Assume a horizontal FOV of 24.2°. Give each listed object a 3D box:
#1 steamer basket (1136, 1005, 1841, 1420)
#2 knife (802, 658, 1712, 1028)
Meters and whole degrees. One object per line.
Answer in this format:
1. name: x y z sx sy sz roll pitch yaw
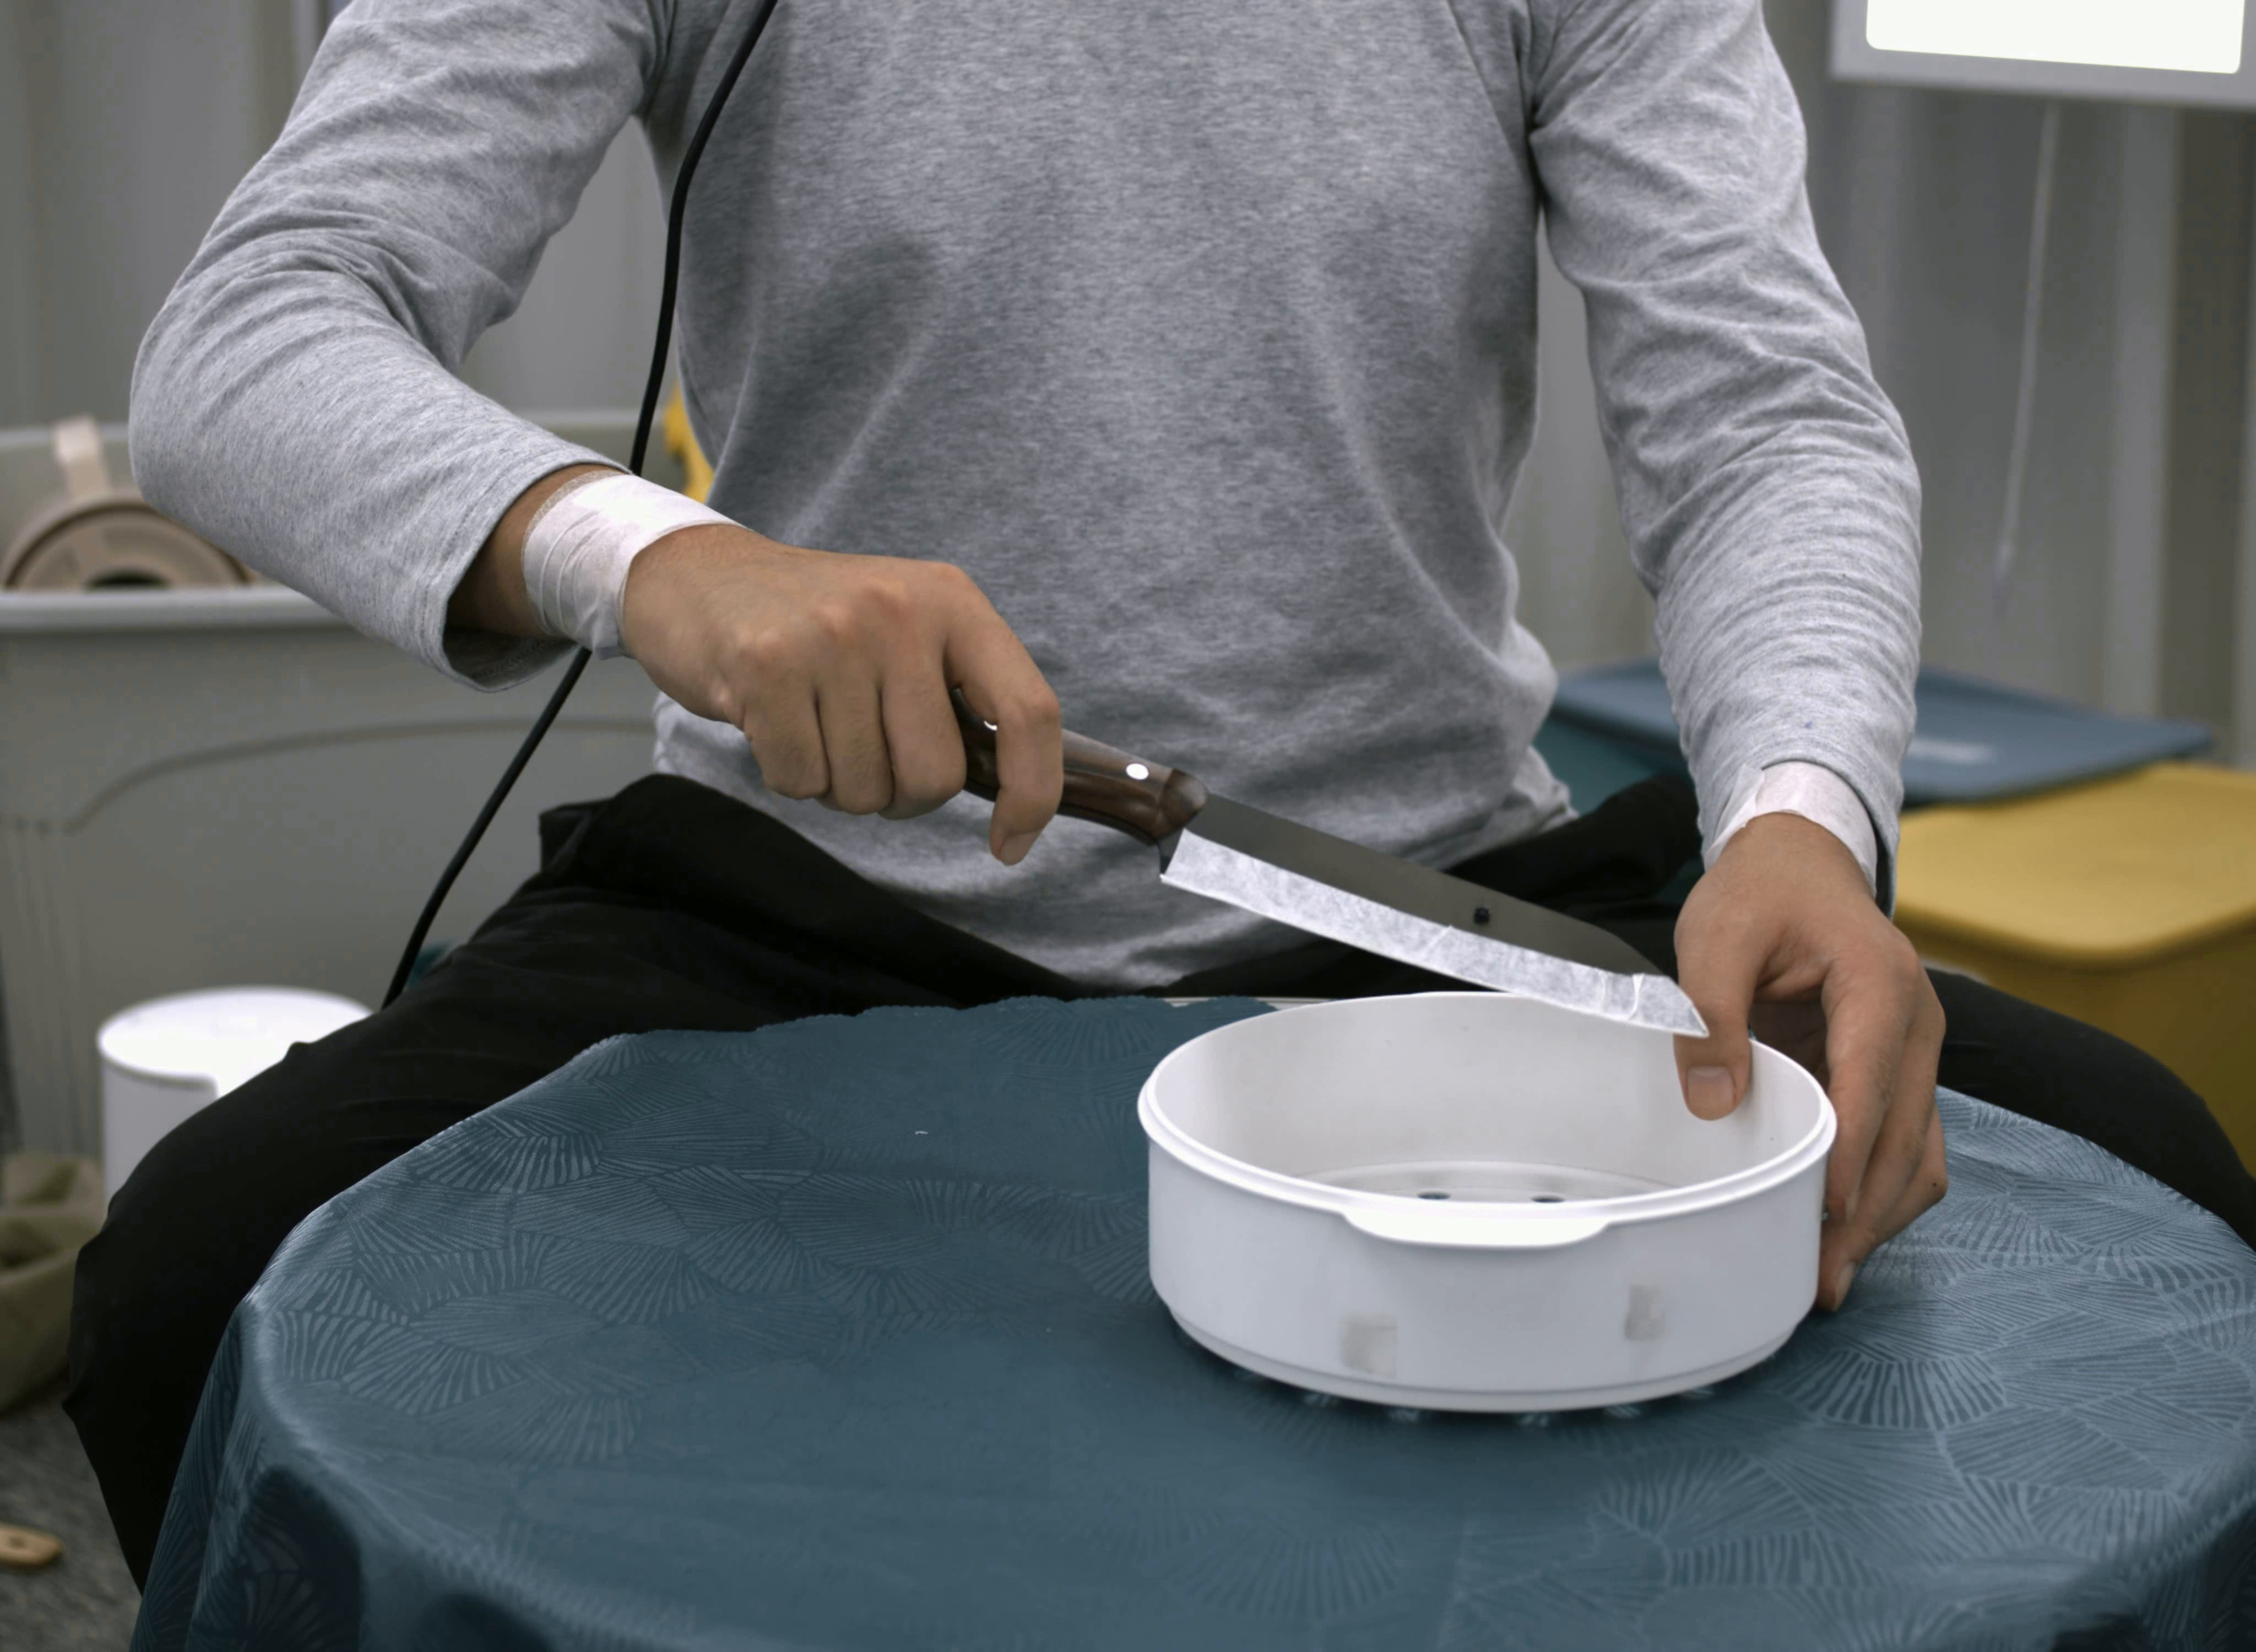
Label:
1. steamer basket: 0.103 0.110 1.513 0.201 0.070 0.230 2 15 5
2. knife: 0.037 0.007 1.551 0.288 0.020 0.050 20 43 4
